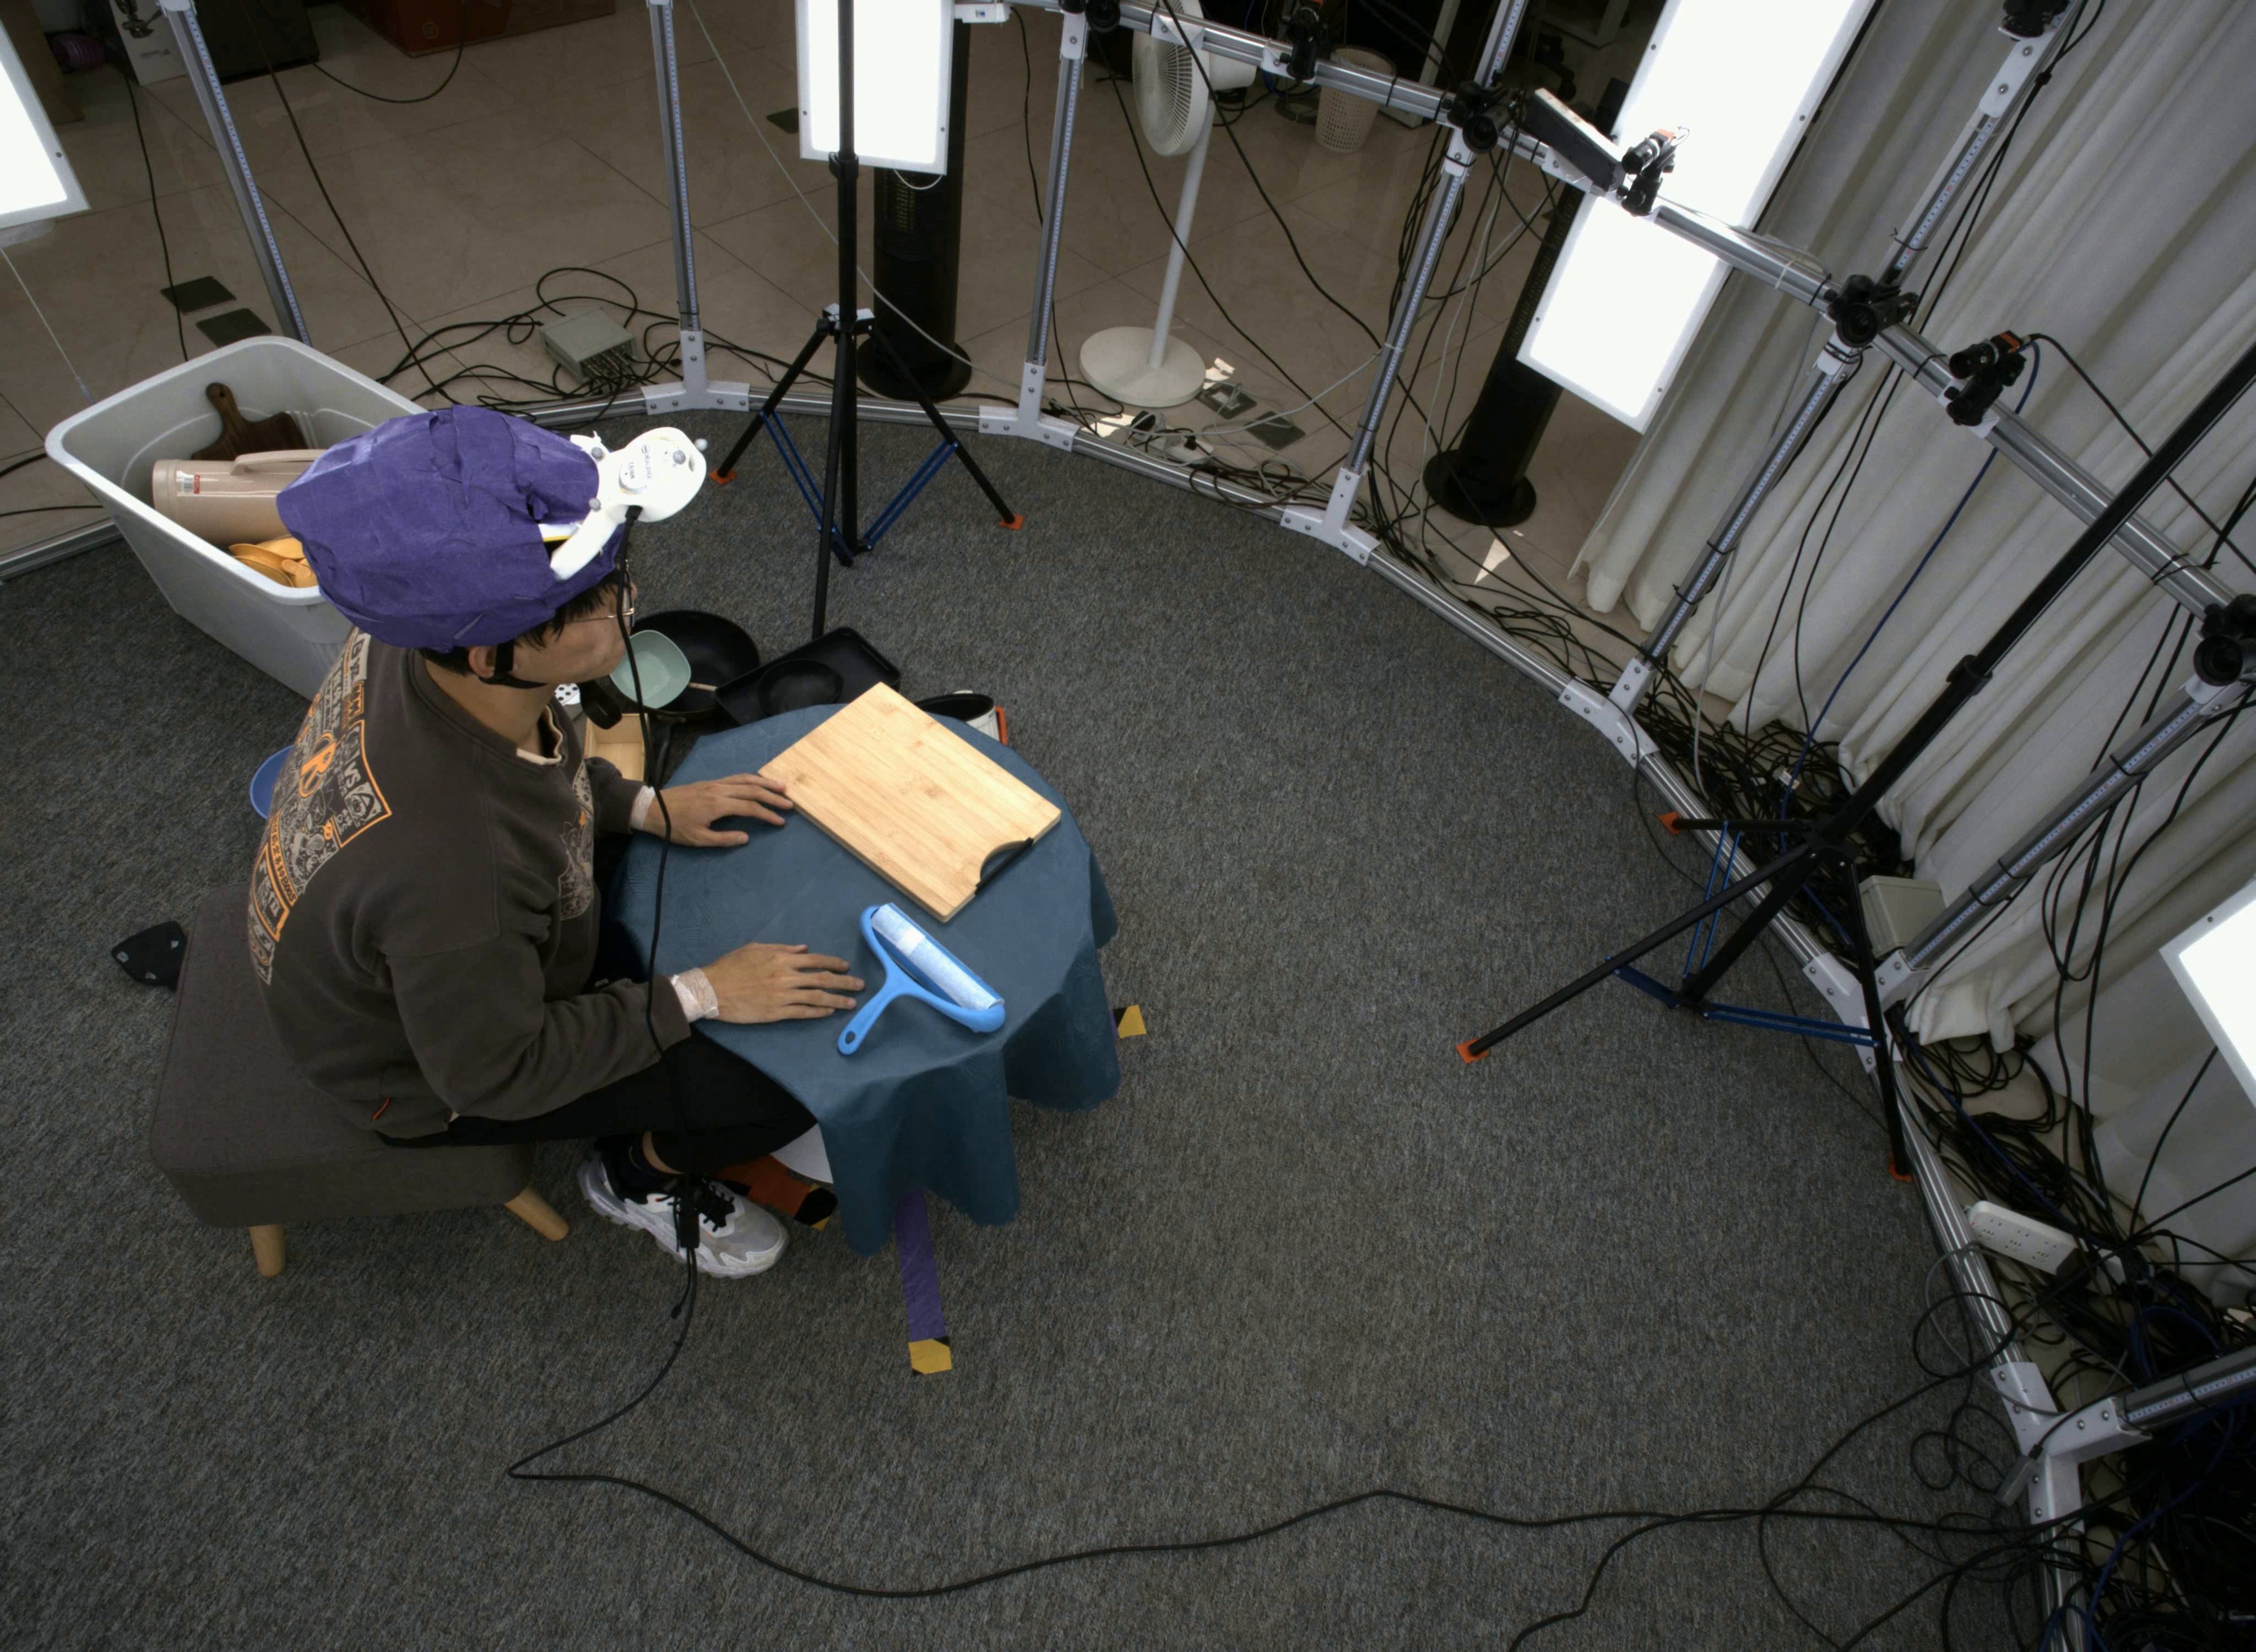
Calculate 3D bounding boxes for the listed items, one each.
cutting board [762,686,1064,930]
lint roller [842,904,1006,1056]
[{"bbox_3d":[-0.293,-0.036,1.787,0.342,0.024,0.250,35,55,13],"label":"cutting board"},{"bbox_3d":[-0.277,0.205,1.587,0.224,0.069,0.180,37,53,13],"label":"lint roller"}]
